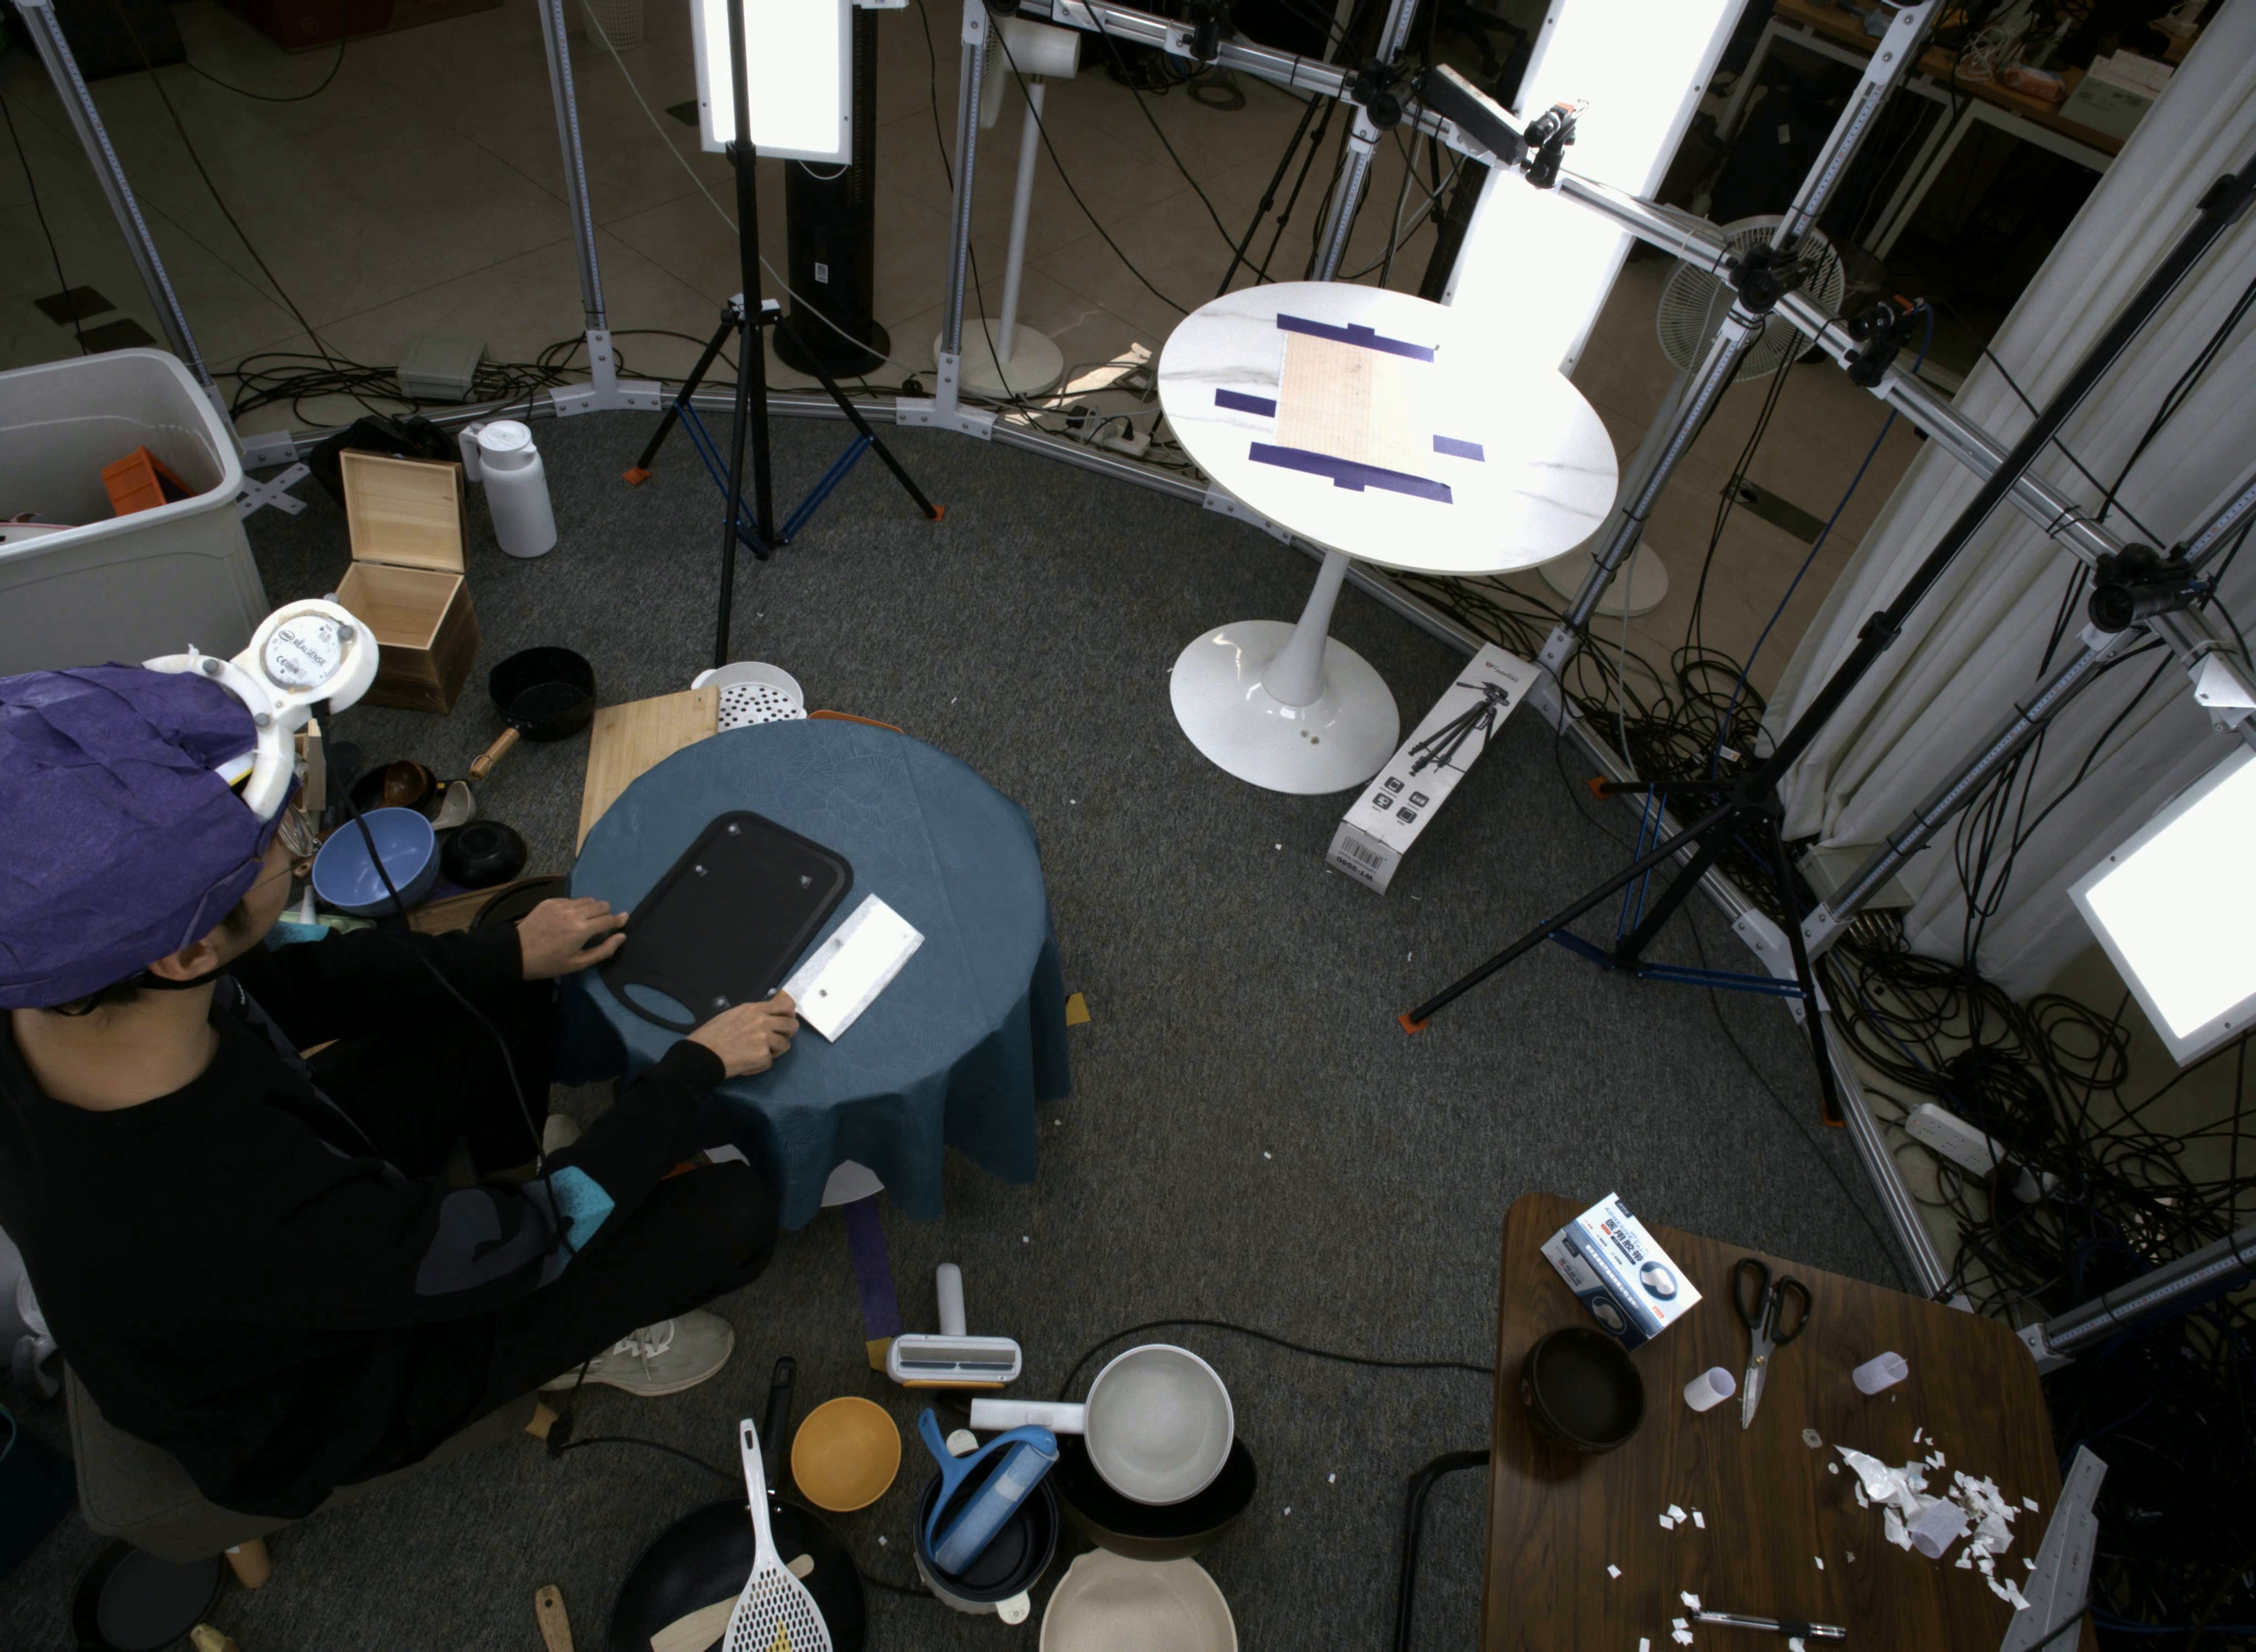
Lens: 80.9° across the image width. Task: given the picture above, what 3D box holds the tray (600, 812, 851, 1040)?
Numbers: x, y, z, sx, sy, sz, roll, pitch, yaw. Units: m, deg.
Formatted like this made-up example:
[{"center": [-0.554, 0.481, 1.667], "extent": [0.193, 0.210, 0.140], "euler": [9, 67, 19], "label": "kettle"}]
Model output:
[{"center": [-0.500, 0.118, 1.600], "extent": [0.208, 0.010, 0.323], "euler": [27, 51, 6], "label": "tray"}]

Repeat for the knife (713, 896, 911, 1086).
[{"center": [-0.368, 0.205, 1.557], "extent": [0.093, 0.021, 0.305], "euler": [40, 52, -2], "label": "knife"}]
